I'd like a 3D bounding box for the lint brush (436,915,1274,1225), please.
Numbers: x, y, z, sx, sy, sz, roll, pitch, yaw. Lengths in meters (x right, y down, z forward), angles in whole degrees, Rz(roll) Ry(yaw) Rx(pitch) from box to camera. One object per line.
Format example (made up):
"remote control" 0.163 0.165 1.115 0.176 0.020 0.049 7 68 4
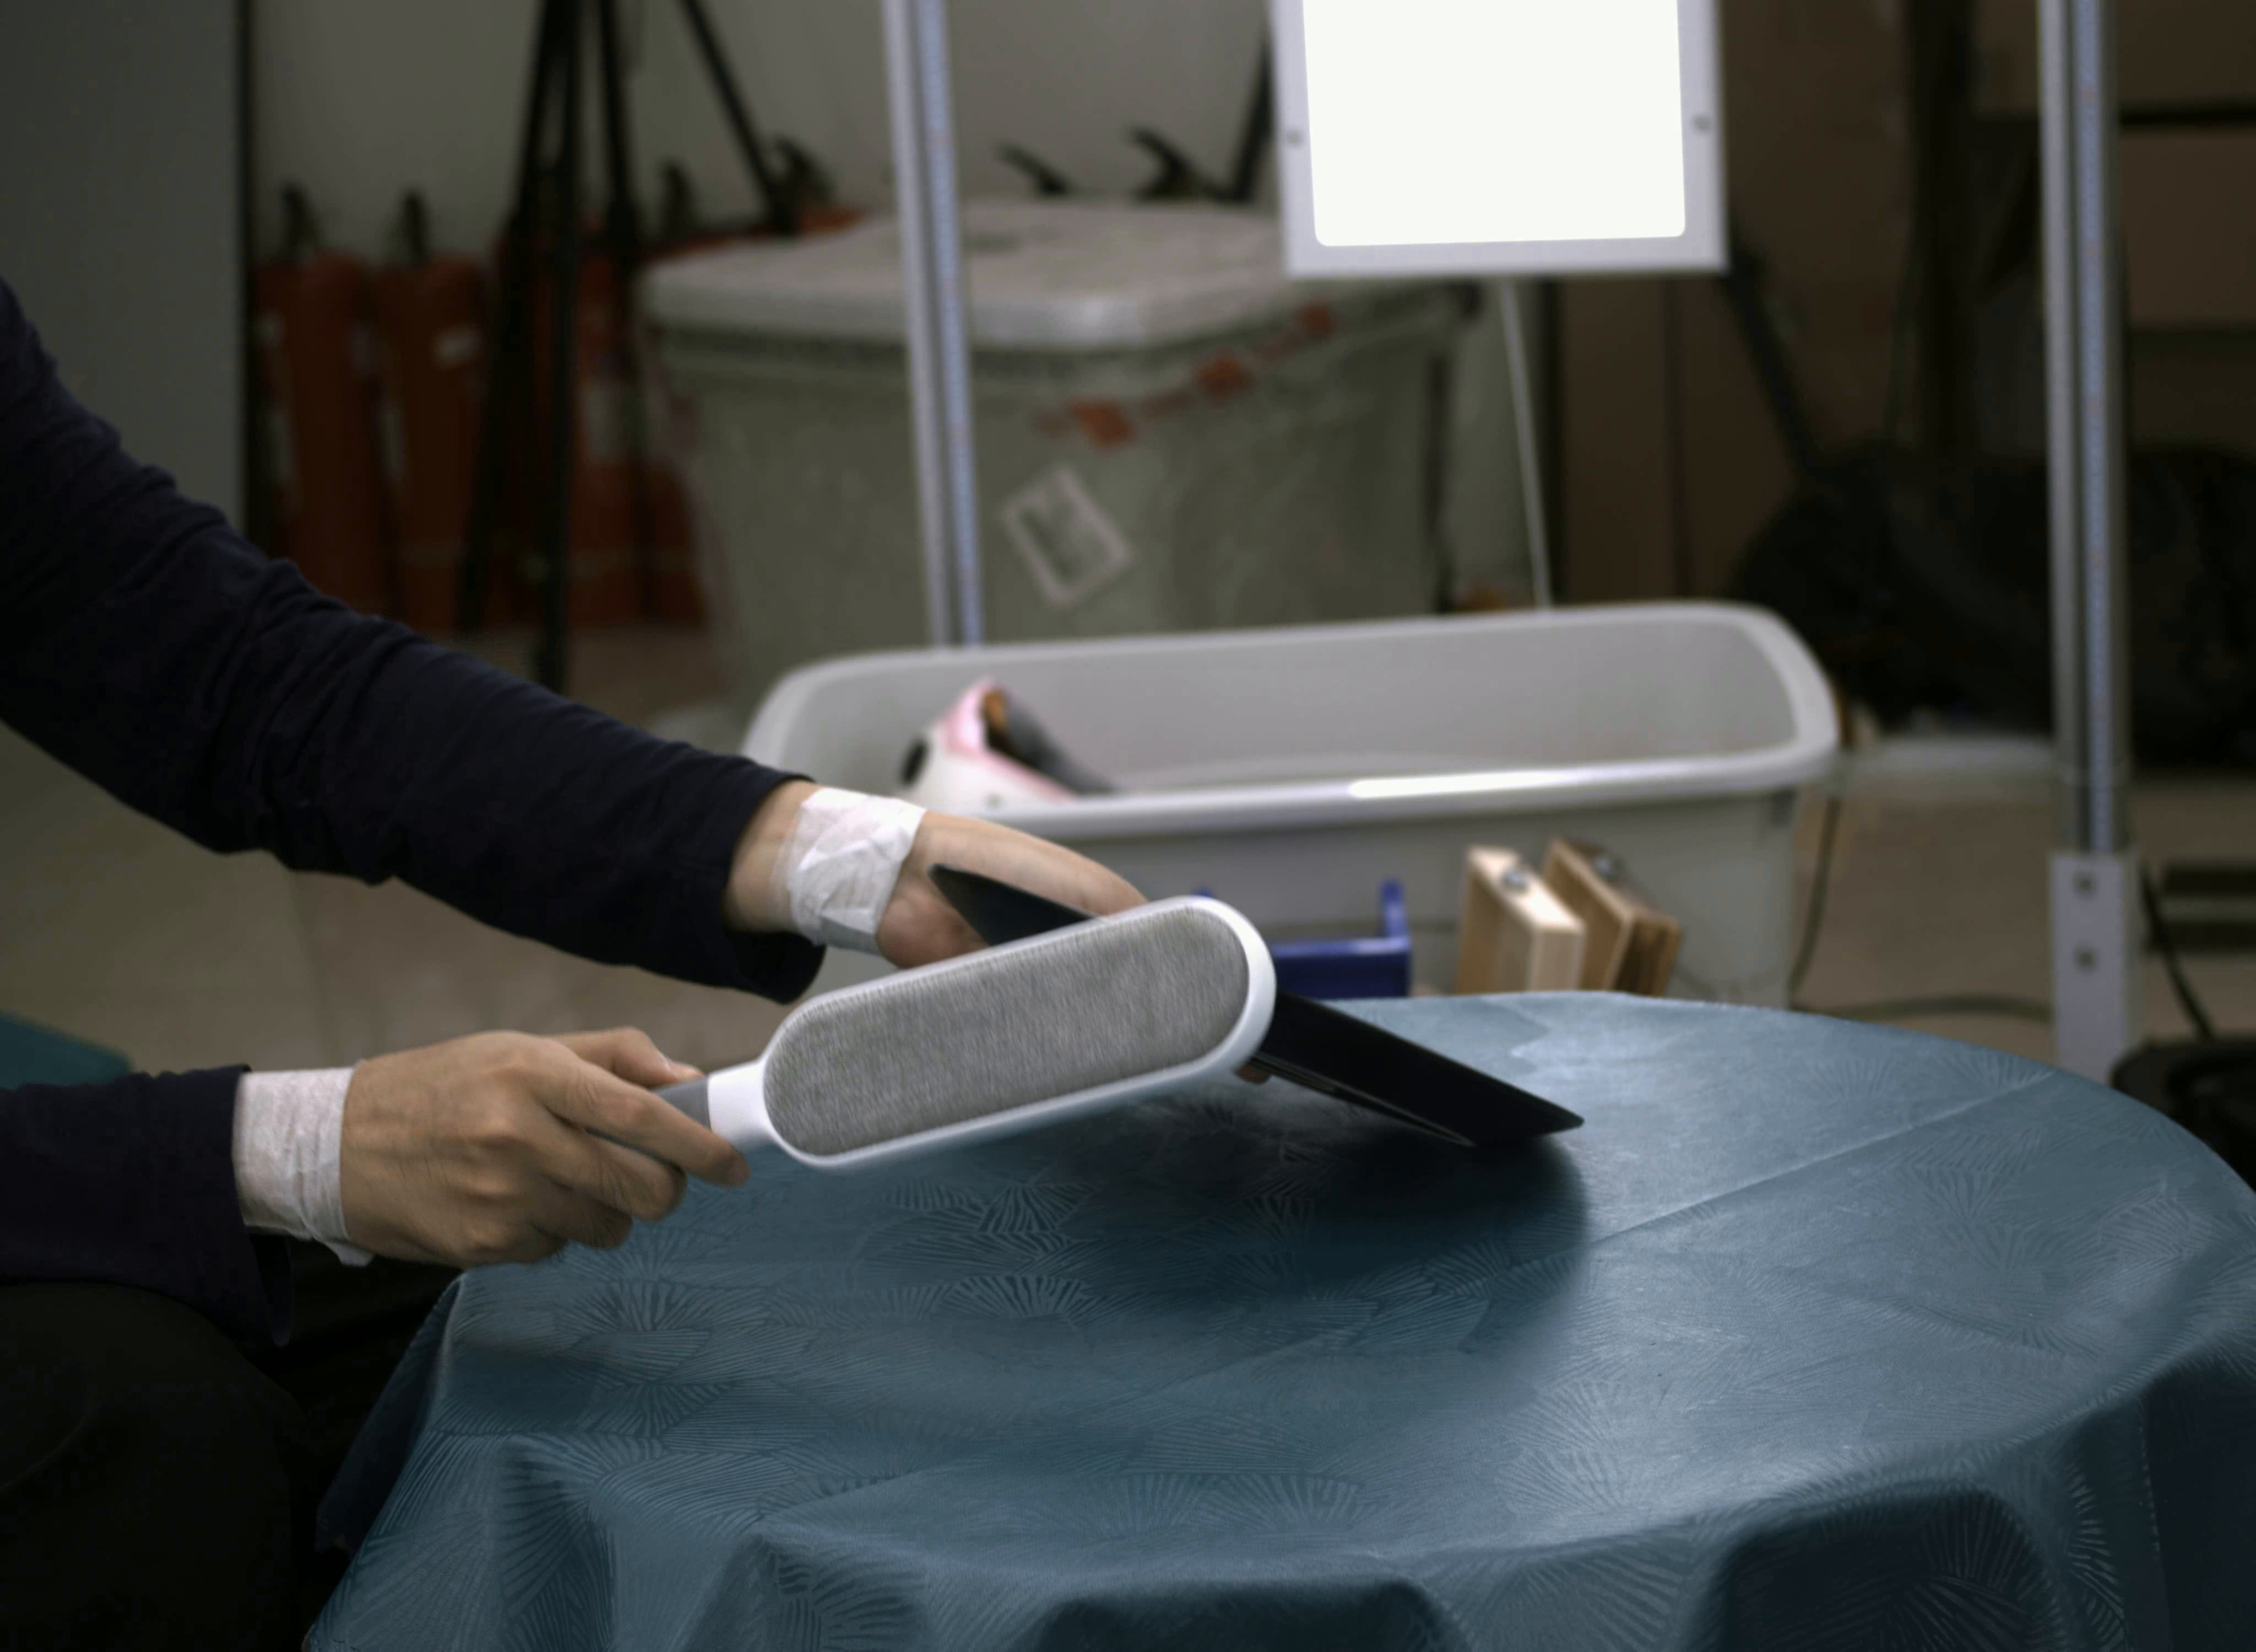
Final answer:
"lint brush" -0.090 0.083 1.725 0.315 0.060 0.020 -15 -15 29

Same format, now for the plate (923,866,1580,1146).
"plate" 0.040 0.067 1.893 0.244 0.023 0.244 22 -3 -1
